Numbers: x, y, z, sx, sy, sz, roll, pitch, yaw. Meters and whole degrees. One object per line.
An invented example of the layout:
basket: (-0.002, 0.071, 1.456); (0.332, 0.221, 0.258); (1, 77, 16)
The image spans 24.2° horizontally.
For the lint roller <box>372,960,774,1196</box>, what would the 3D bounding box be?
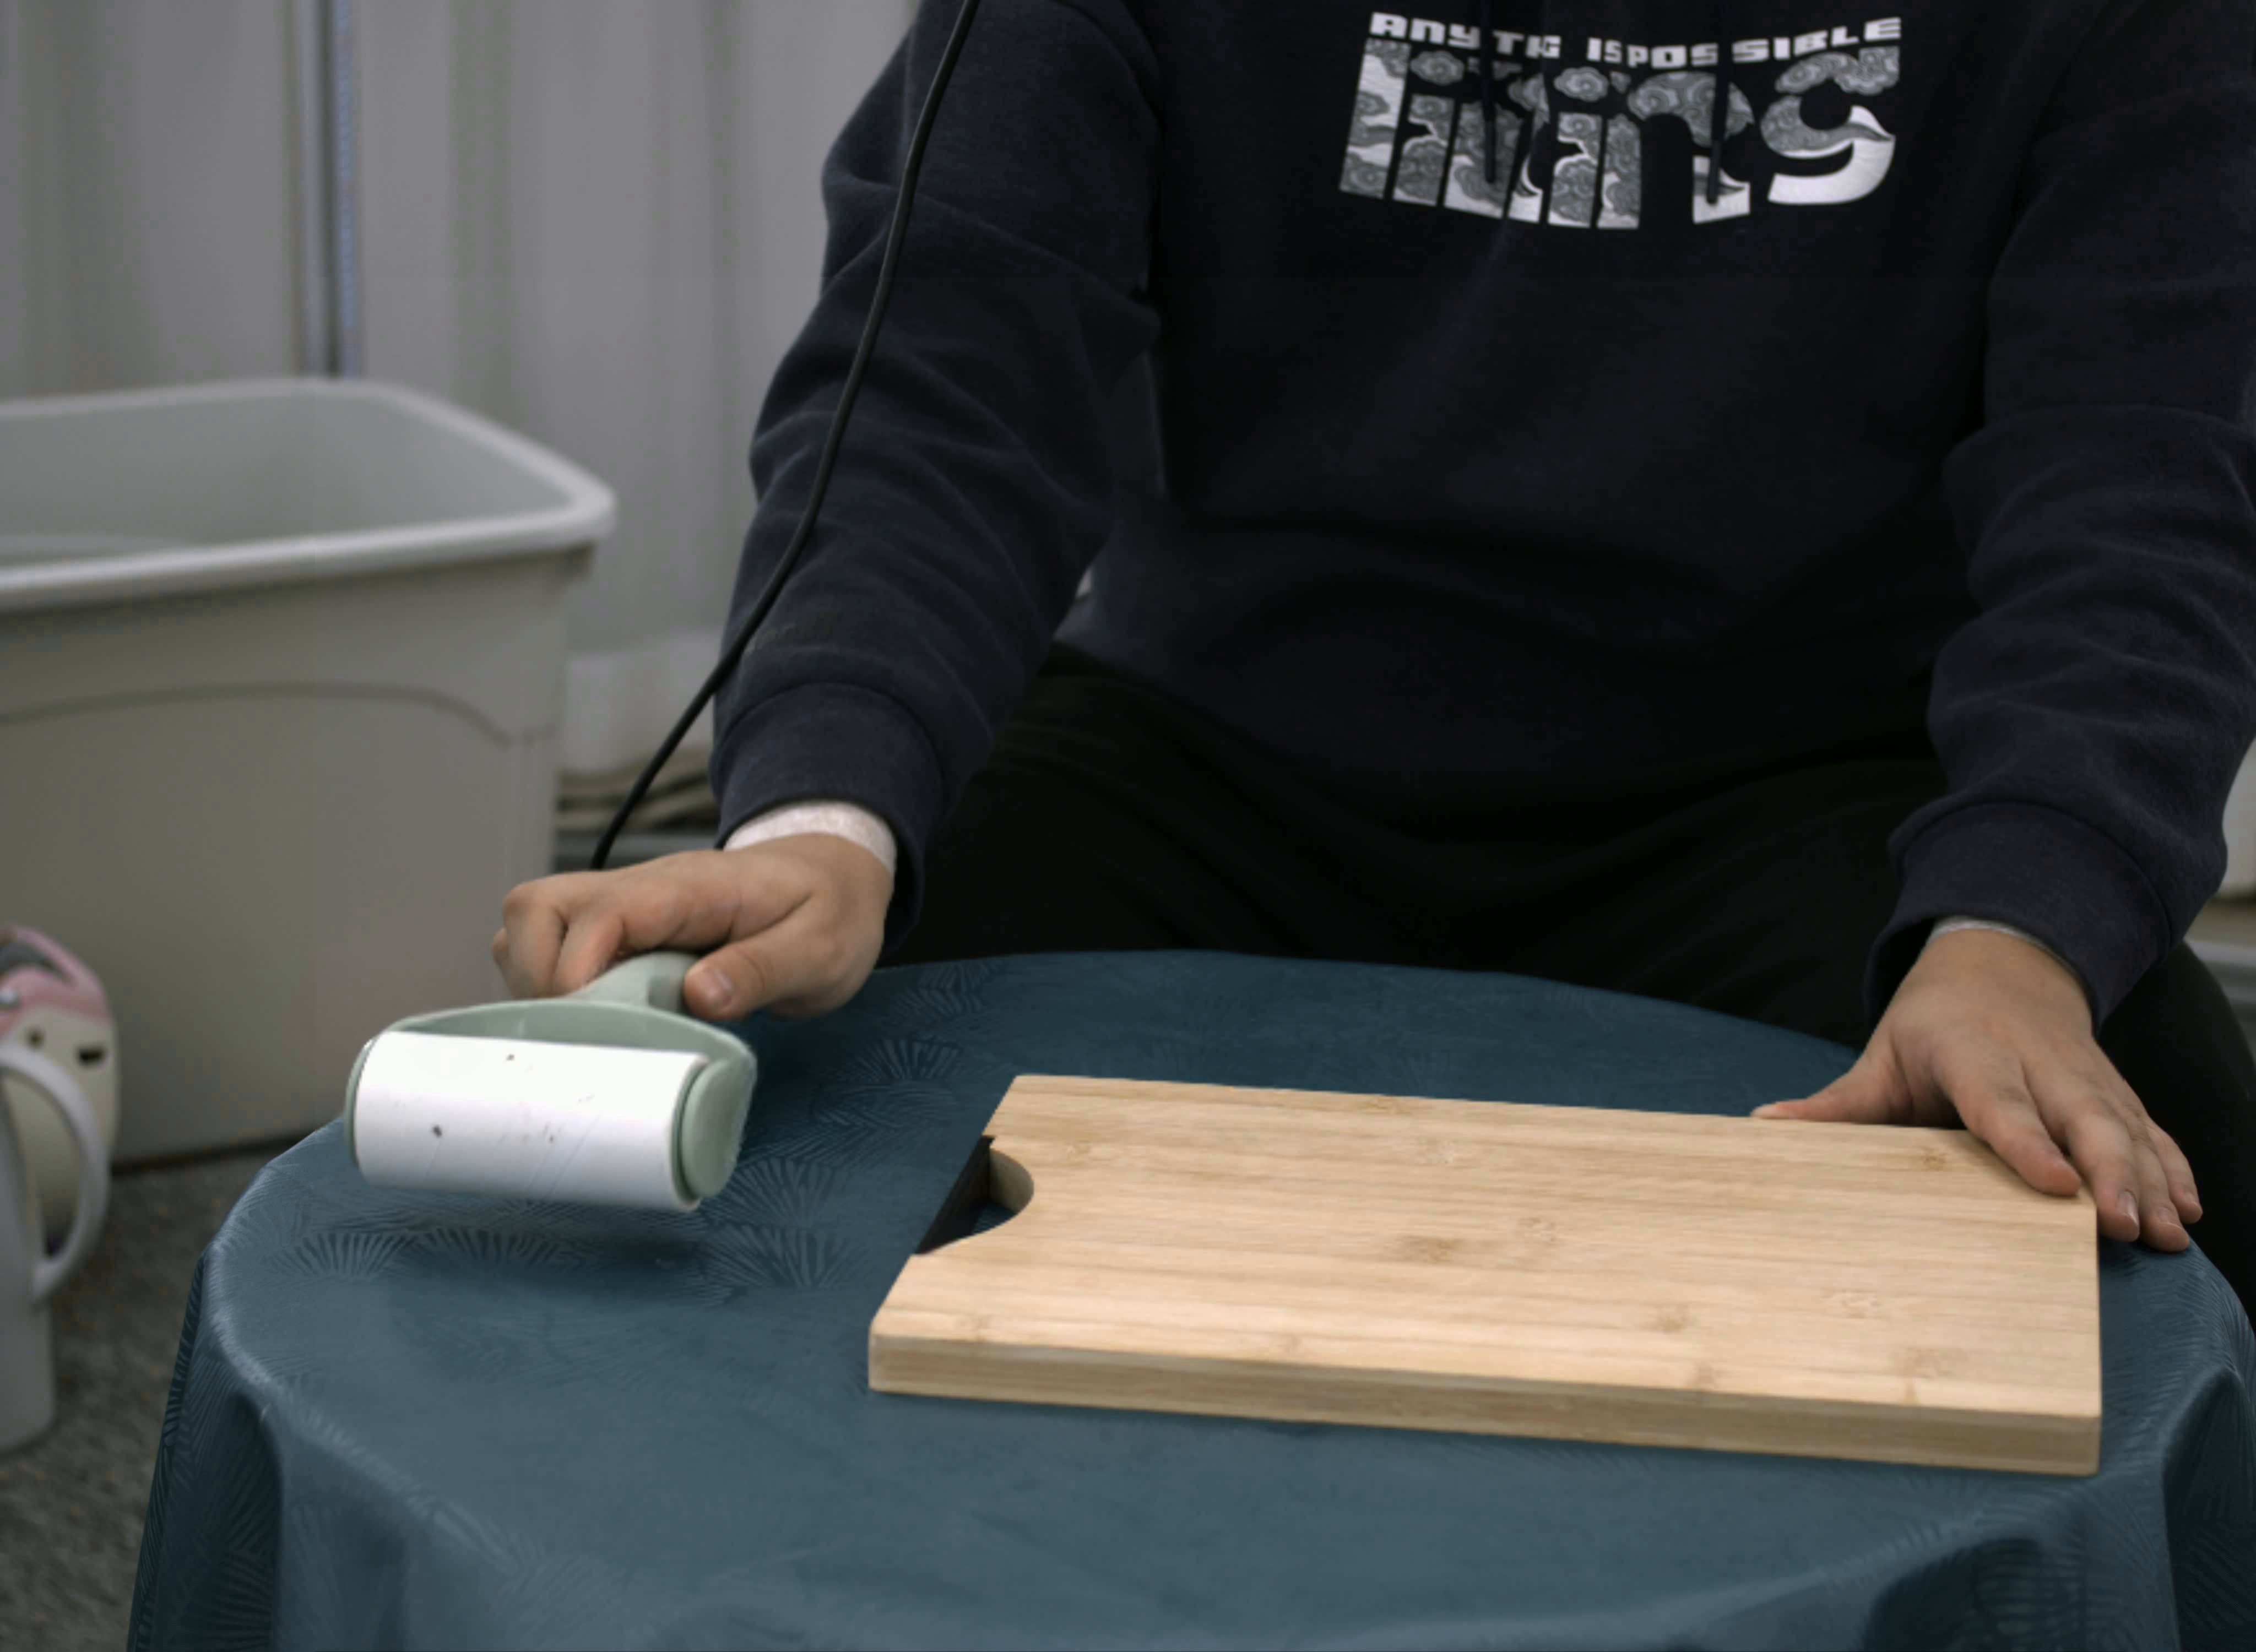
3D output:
lint roller: (-0.148, 0.068, 1.629); (0.116, 0.049, 0.197); (0, 14, 15)

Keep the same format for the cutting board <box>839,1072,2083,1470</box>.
cutting board: (0.108, 0.127, 1.550); (0.346, 0.024, 0.250); (3, 15, 7)
